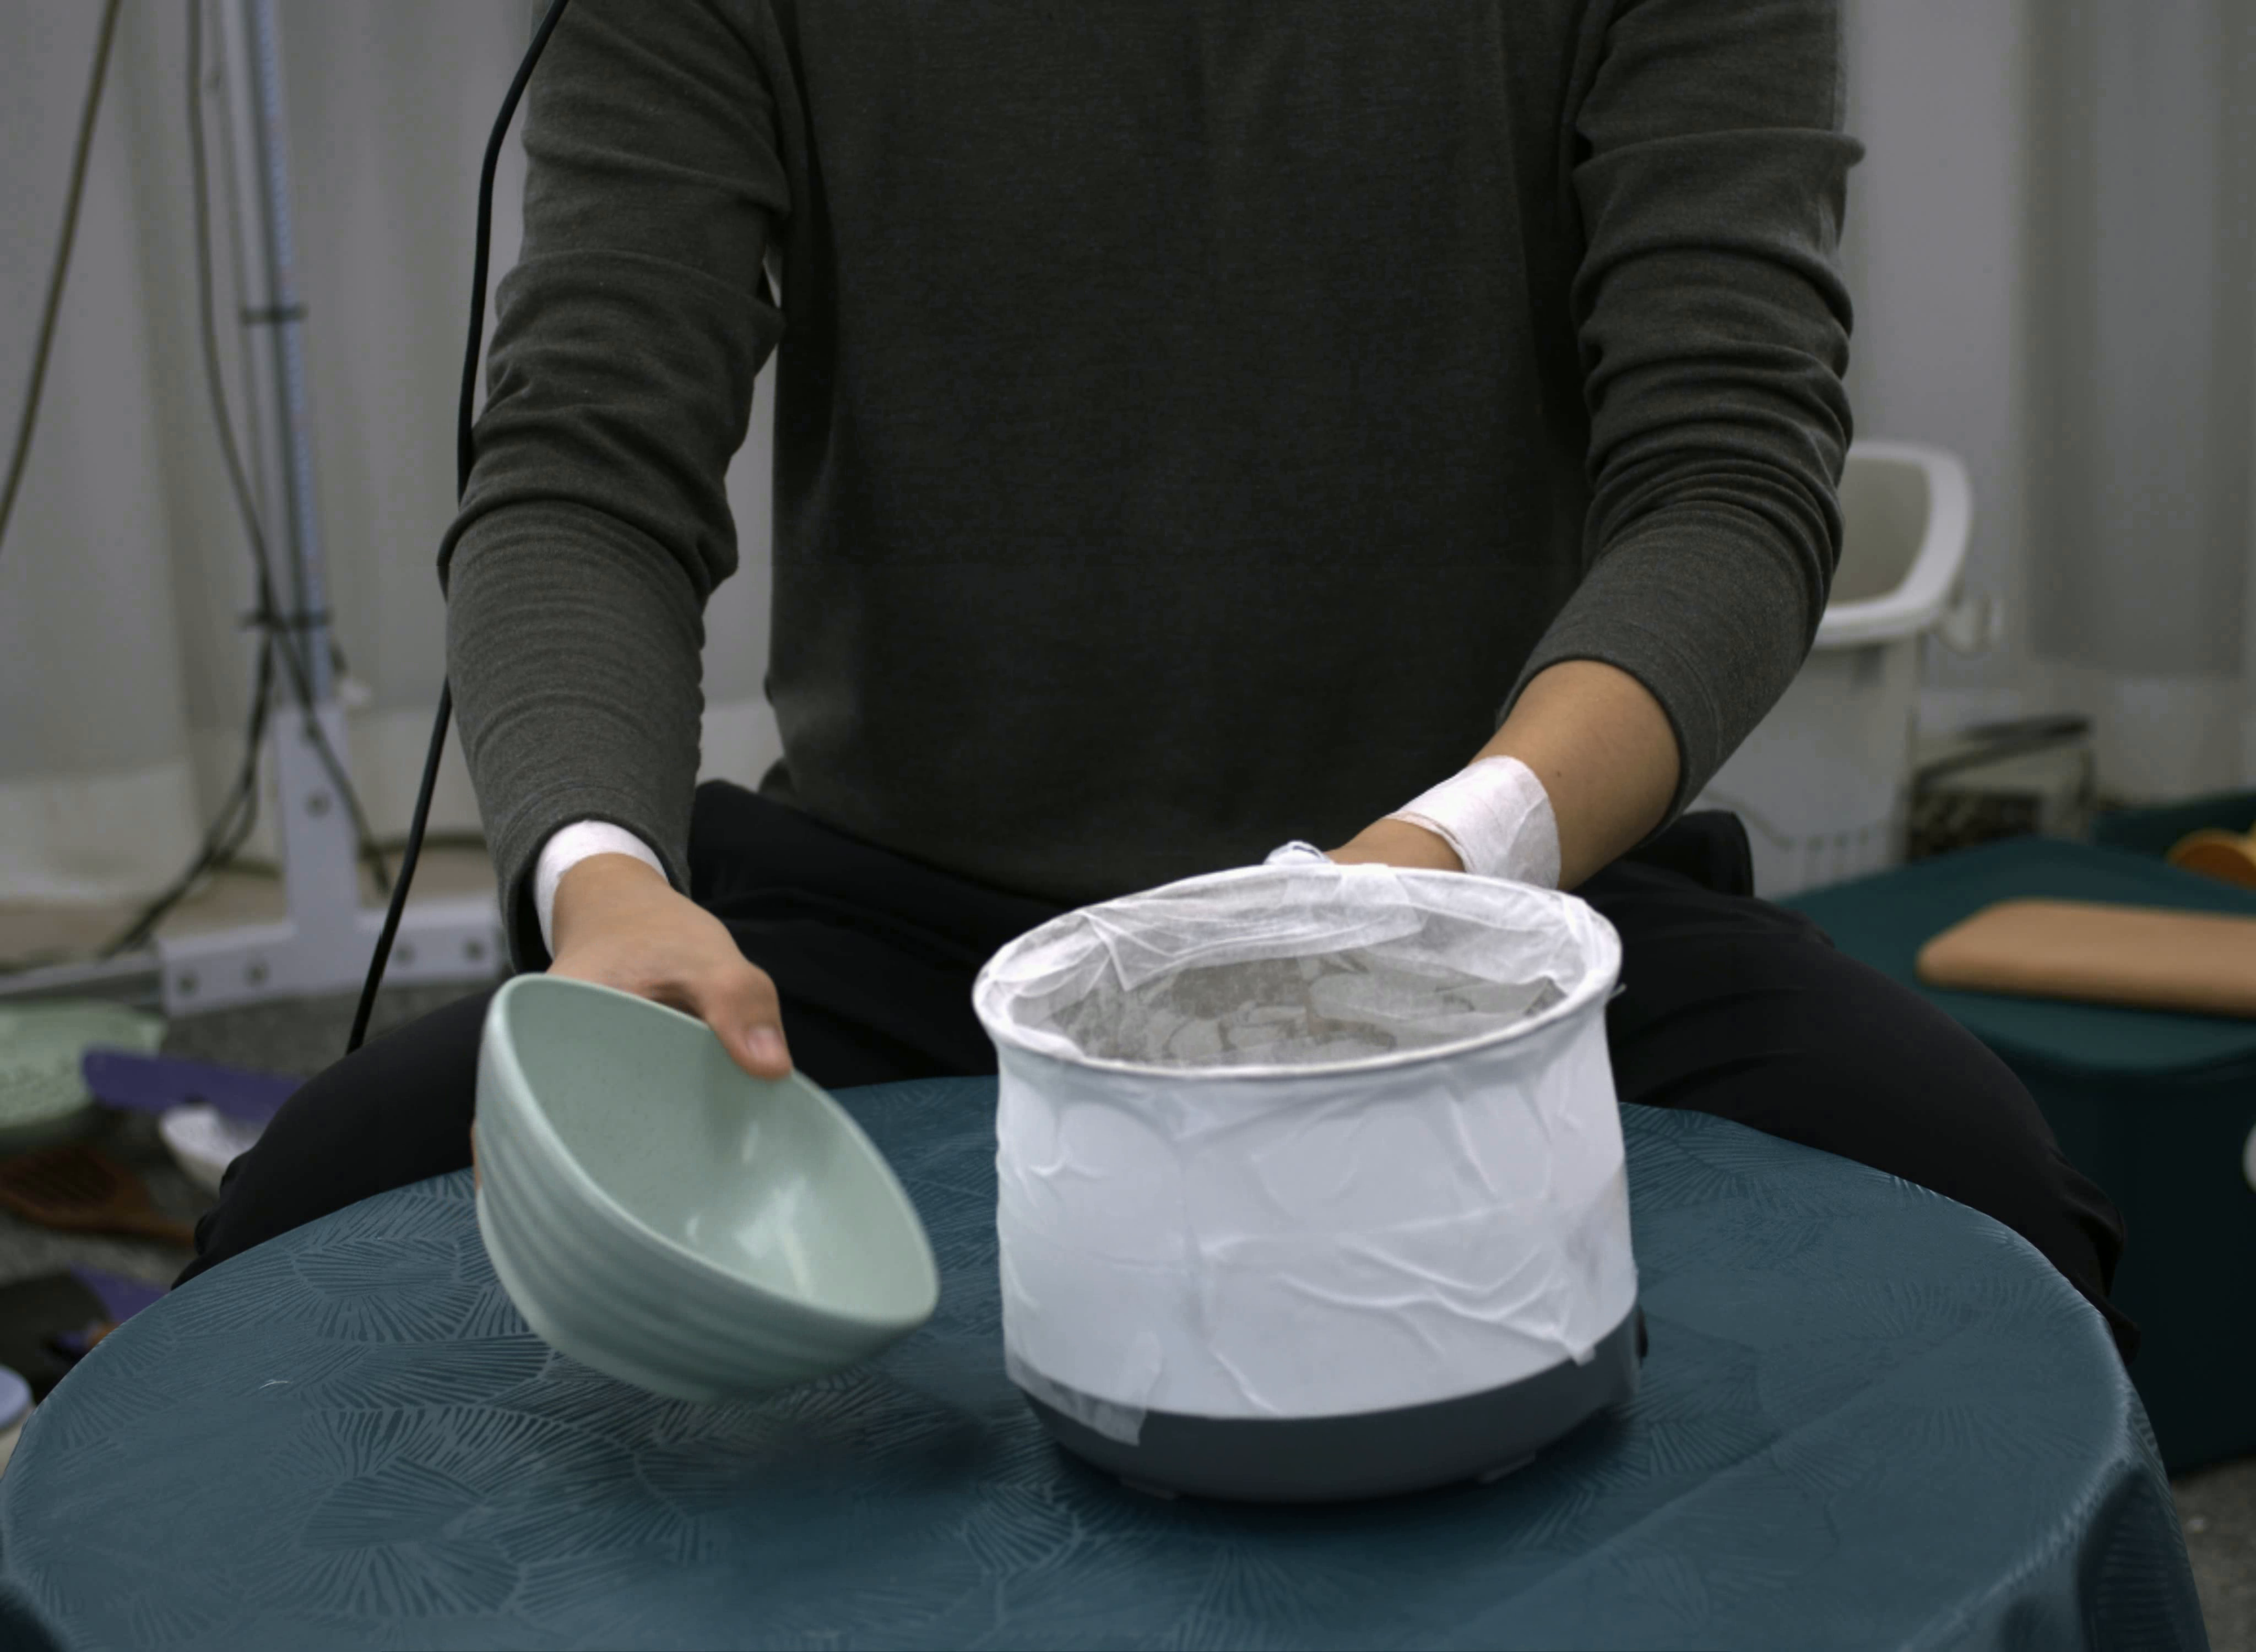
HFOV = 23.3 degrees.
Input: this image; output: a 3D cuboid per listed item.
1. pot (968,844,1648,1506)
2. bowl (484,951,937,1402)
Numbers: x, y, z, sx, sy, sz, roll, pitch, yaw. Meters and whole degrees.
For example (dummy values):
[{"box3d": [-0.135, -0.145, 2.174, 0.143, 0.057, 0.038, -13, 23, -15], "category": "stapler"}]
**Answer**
[{"box3d": [0.051, 0.091, 1.524, 0.178, 0.136, 0.235, -4, 15, 3], "category": "pot"}, {"box3d": [-0.127, 0.107, 1.519, 0.150, 0.058, 0.153, 32, 24, -16], "category": "bowl"}]
